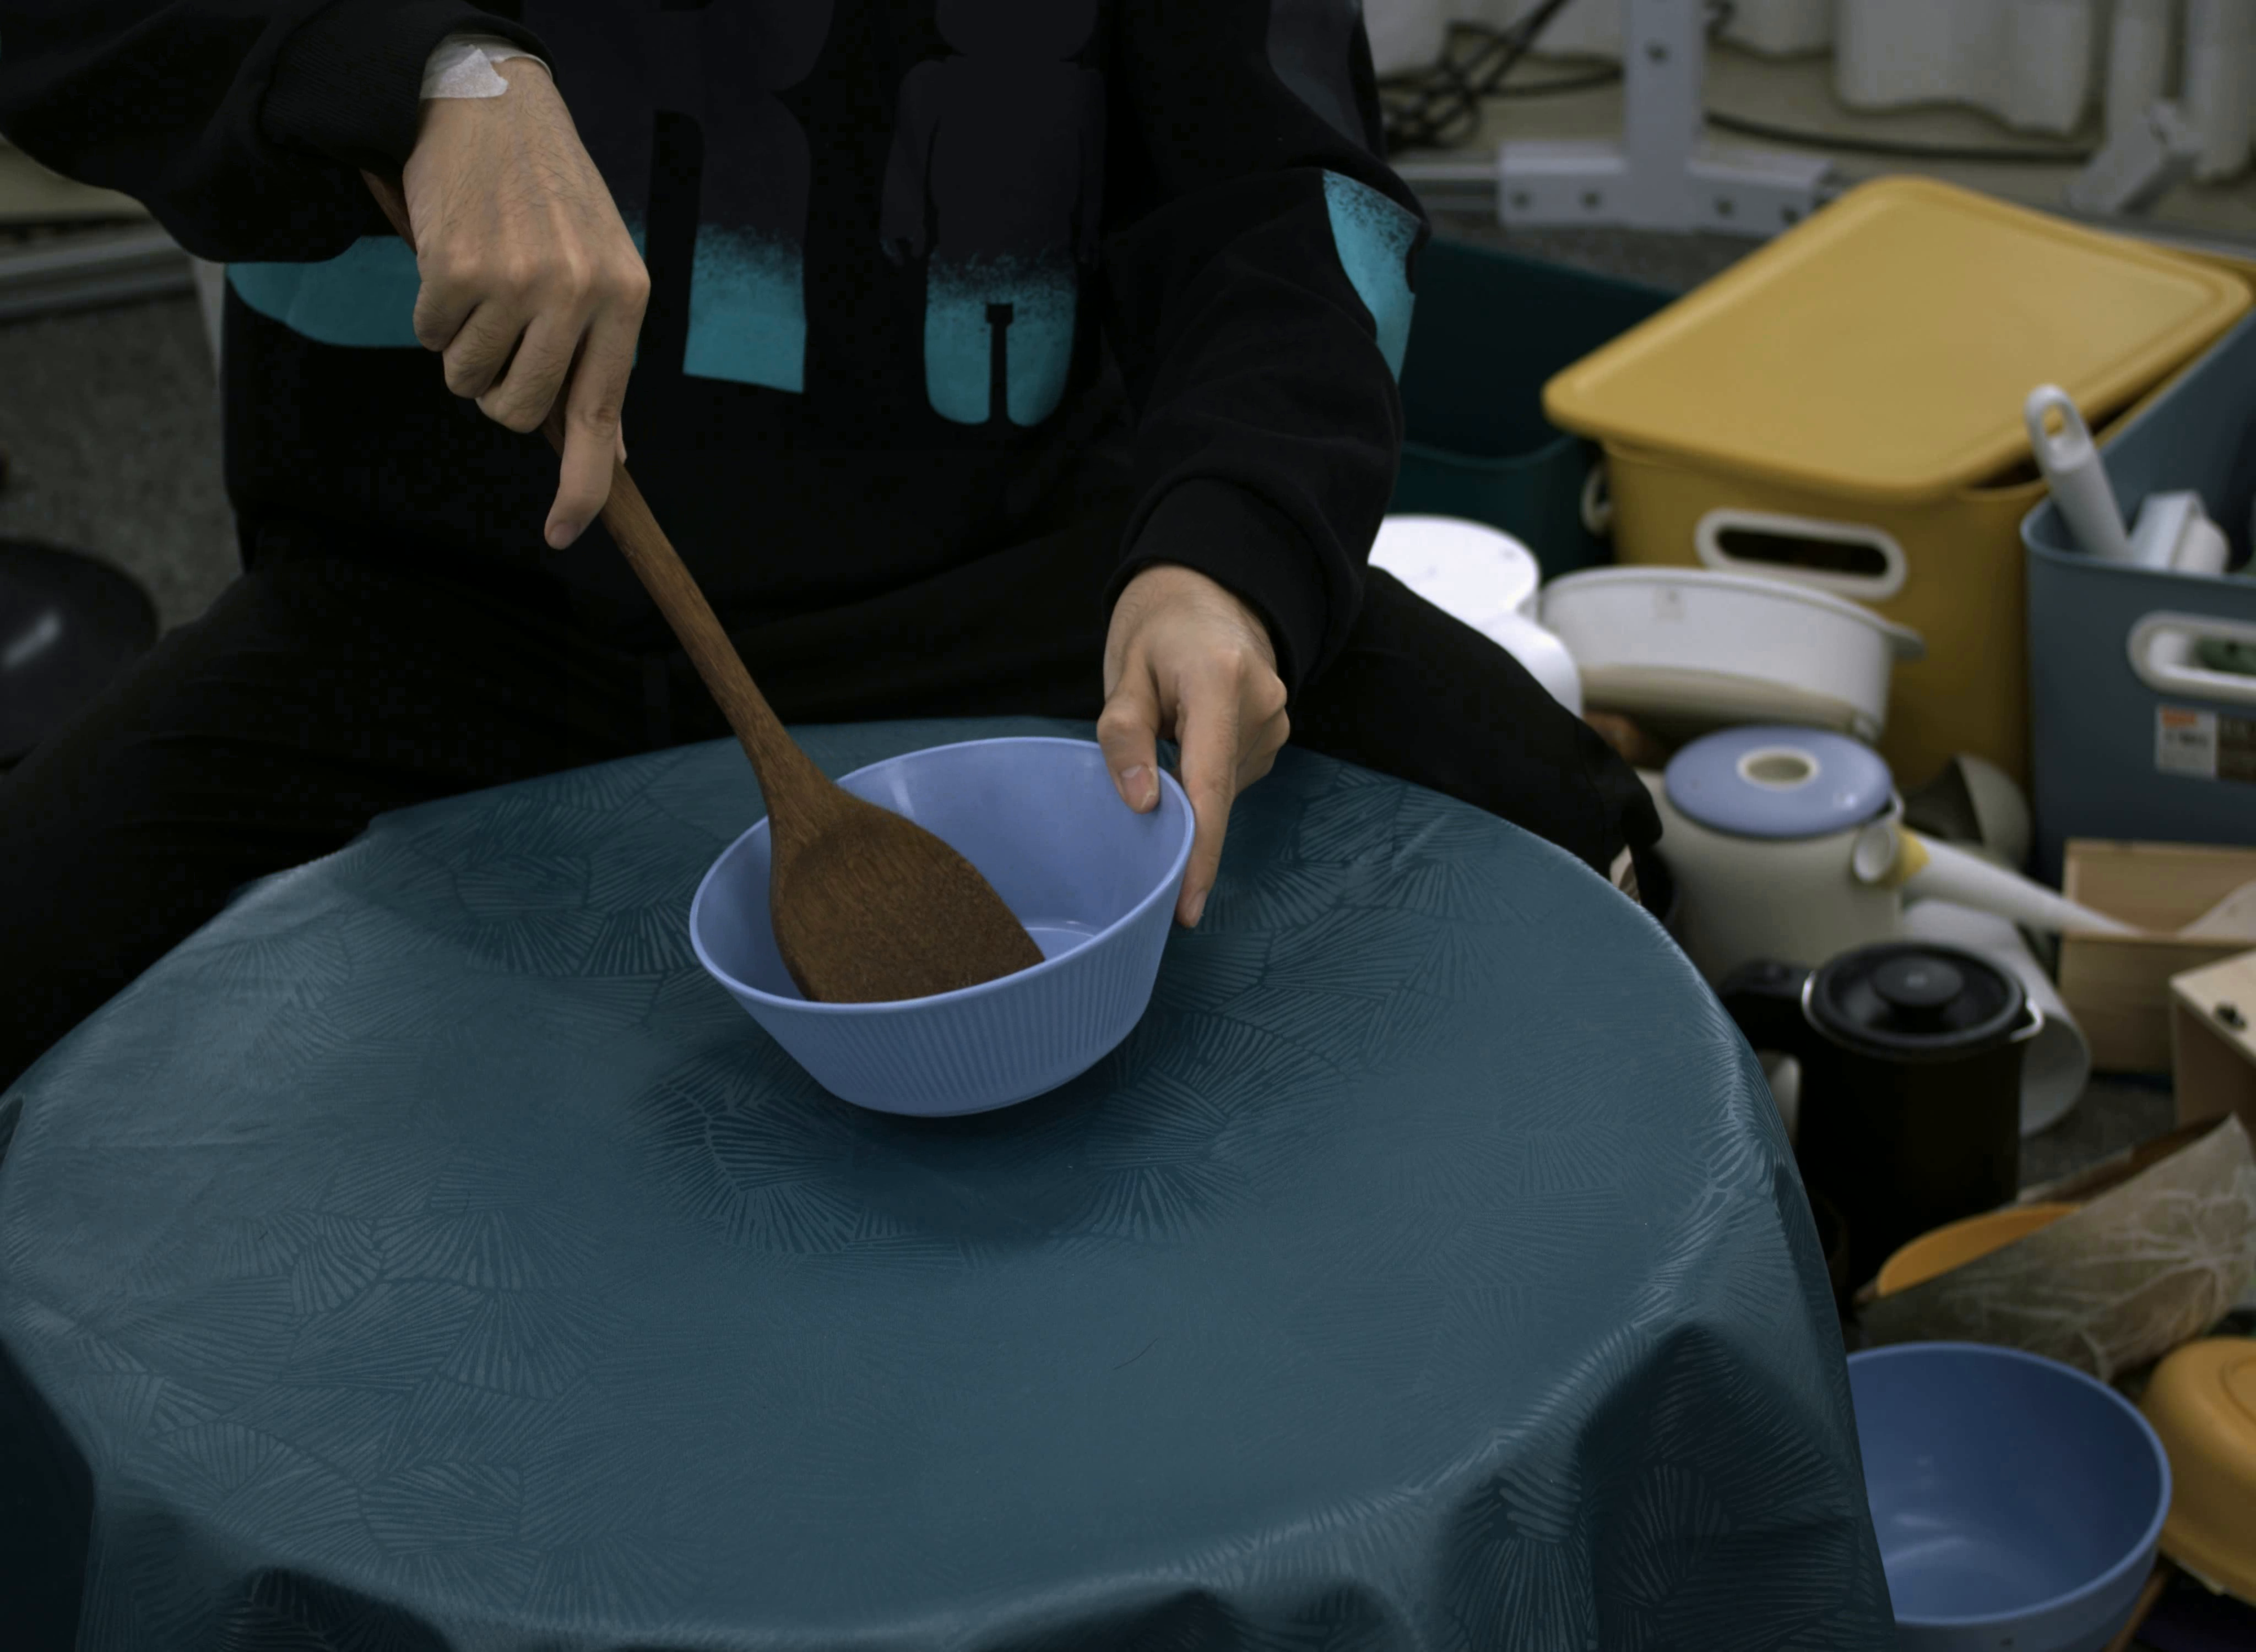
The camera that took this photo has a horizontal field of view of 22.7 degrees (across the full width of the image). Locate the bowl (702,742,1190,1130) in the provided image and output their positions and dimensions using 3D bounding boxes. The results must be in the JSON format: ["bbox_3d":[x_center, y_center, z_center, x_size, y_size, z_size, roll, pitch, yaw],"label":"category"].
[{"bbox_3d":[-0.054,0.045,1.924,0.175,0.069,0.179,-14,28,8],"label":"bowl"}]

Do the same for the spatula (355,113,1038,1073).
[{"bbox_3d":[-0.157,-0.083,1.924,0.097,0.387,0.015,-28,-7,-44],"label":"spatula"}]
